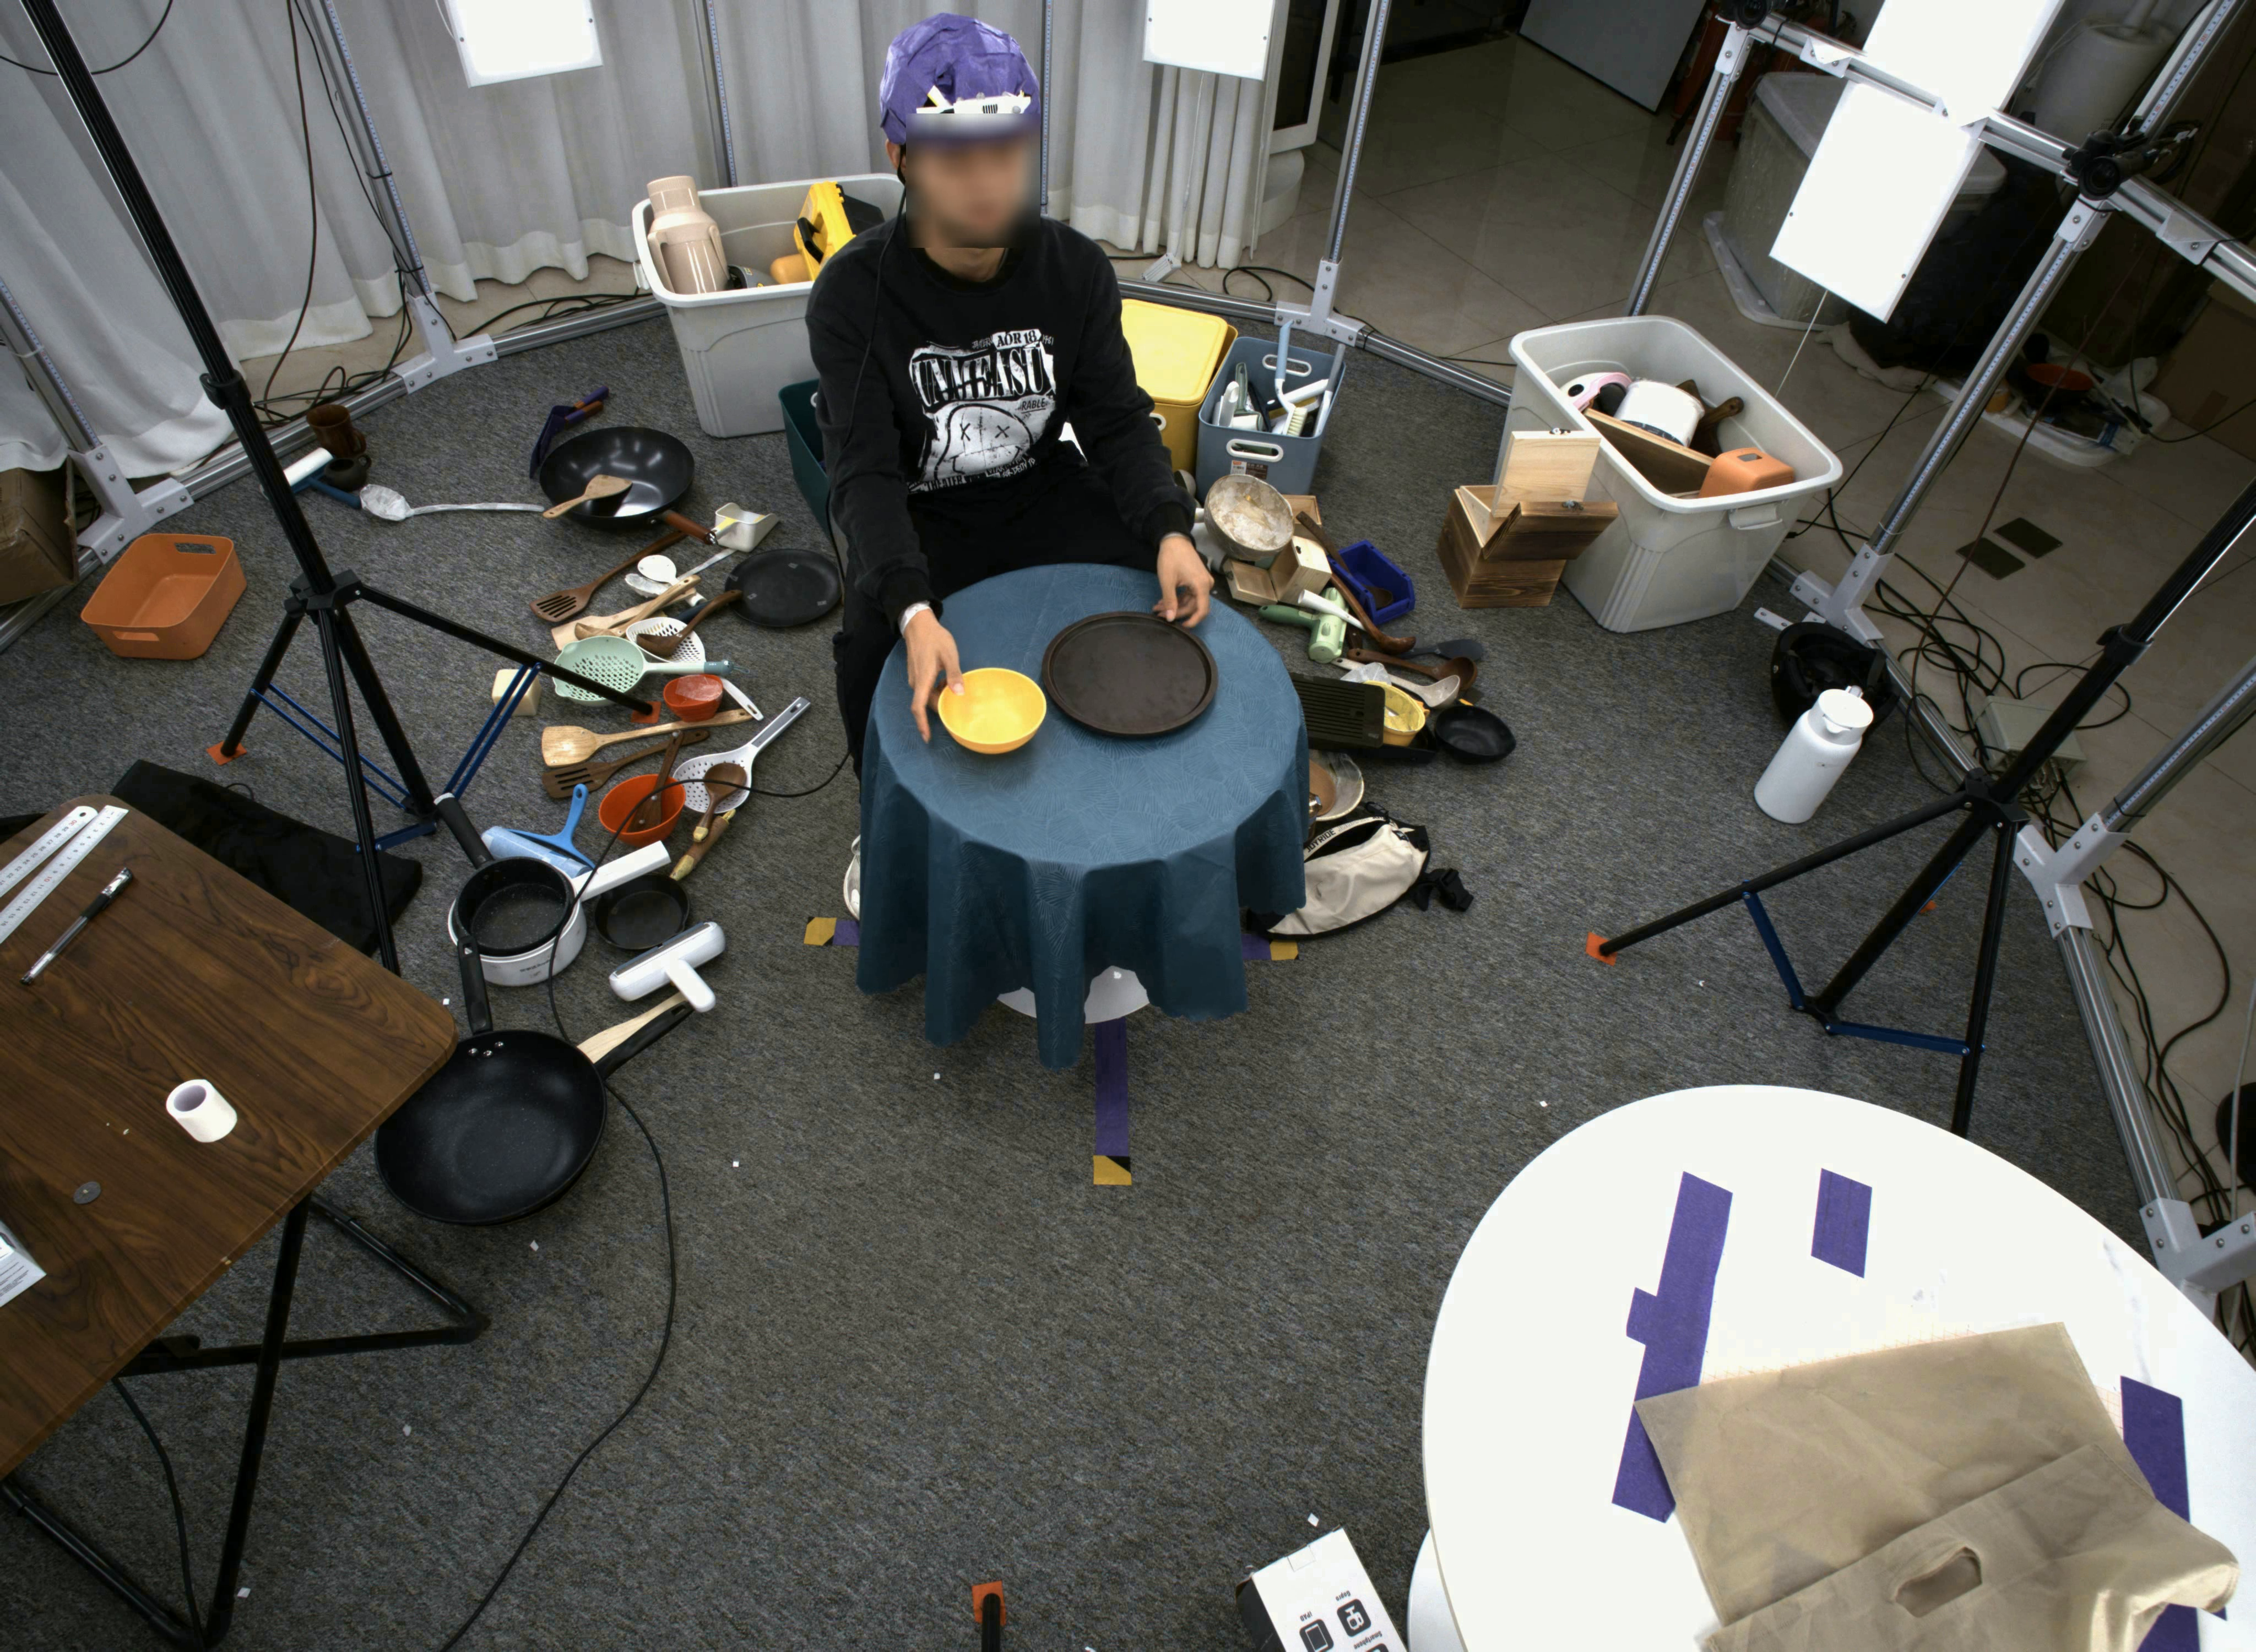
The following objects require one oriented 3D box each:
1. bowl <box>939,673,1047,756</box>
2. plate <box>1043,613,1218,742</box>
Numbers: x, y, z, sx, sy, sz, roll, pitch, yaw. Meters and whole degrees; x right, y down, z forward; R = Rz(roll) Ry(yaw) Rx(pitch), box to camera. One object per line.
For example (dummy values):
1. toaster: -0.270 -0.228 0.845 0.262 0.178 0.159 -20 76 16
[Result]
1. bowl: -0.184 -0.141 1.759 0.145 0.058 0.149 2 46 -3
2. plate: 0.004 -0.216 1.859 0.254 0.028 0.261 1 49 -1
